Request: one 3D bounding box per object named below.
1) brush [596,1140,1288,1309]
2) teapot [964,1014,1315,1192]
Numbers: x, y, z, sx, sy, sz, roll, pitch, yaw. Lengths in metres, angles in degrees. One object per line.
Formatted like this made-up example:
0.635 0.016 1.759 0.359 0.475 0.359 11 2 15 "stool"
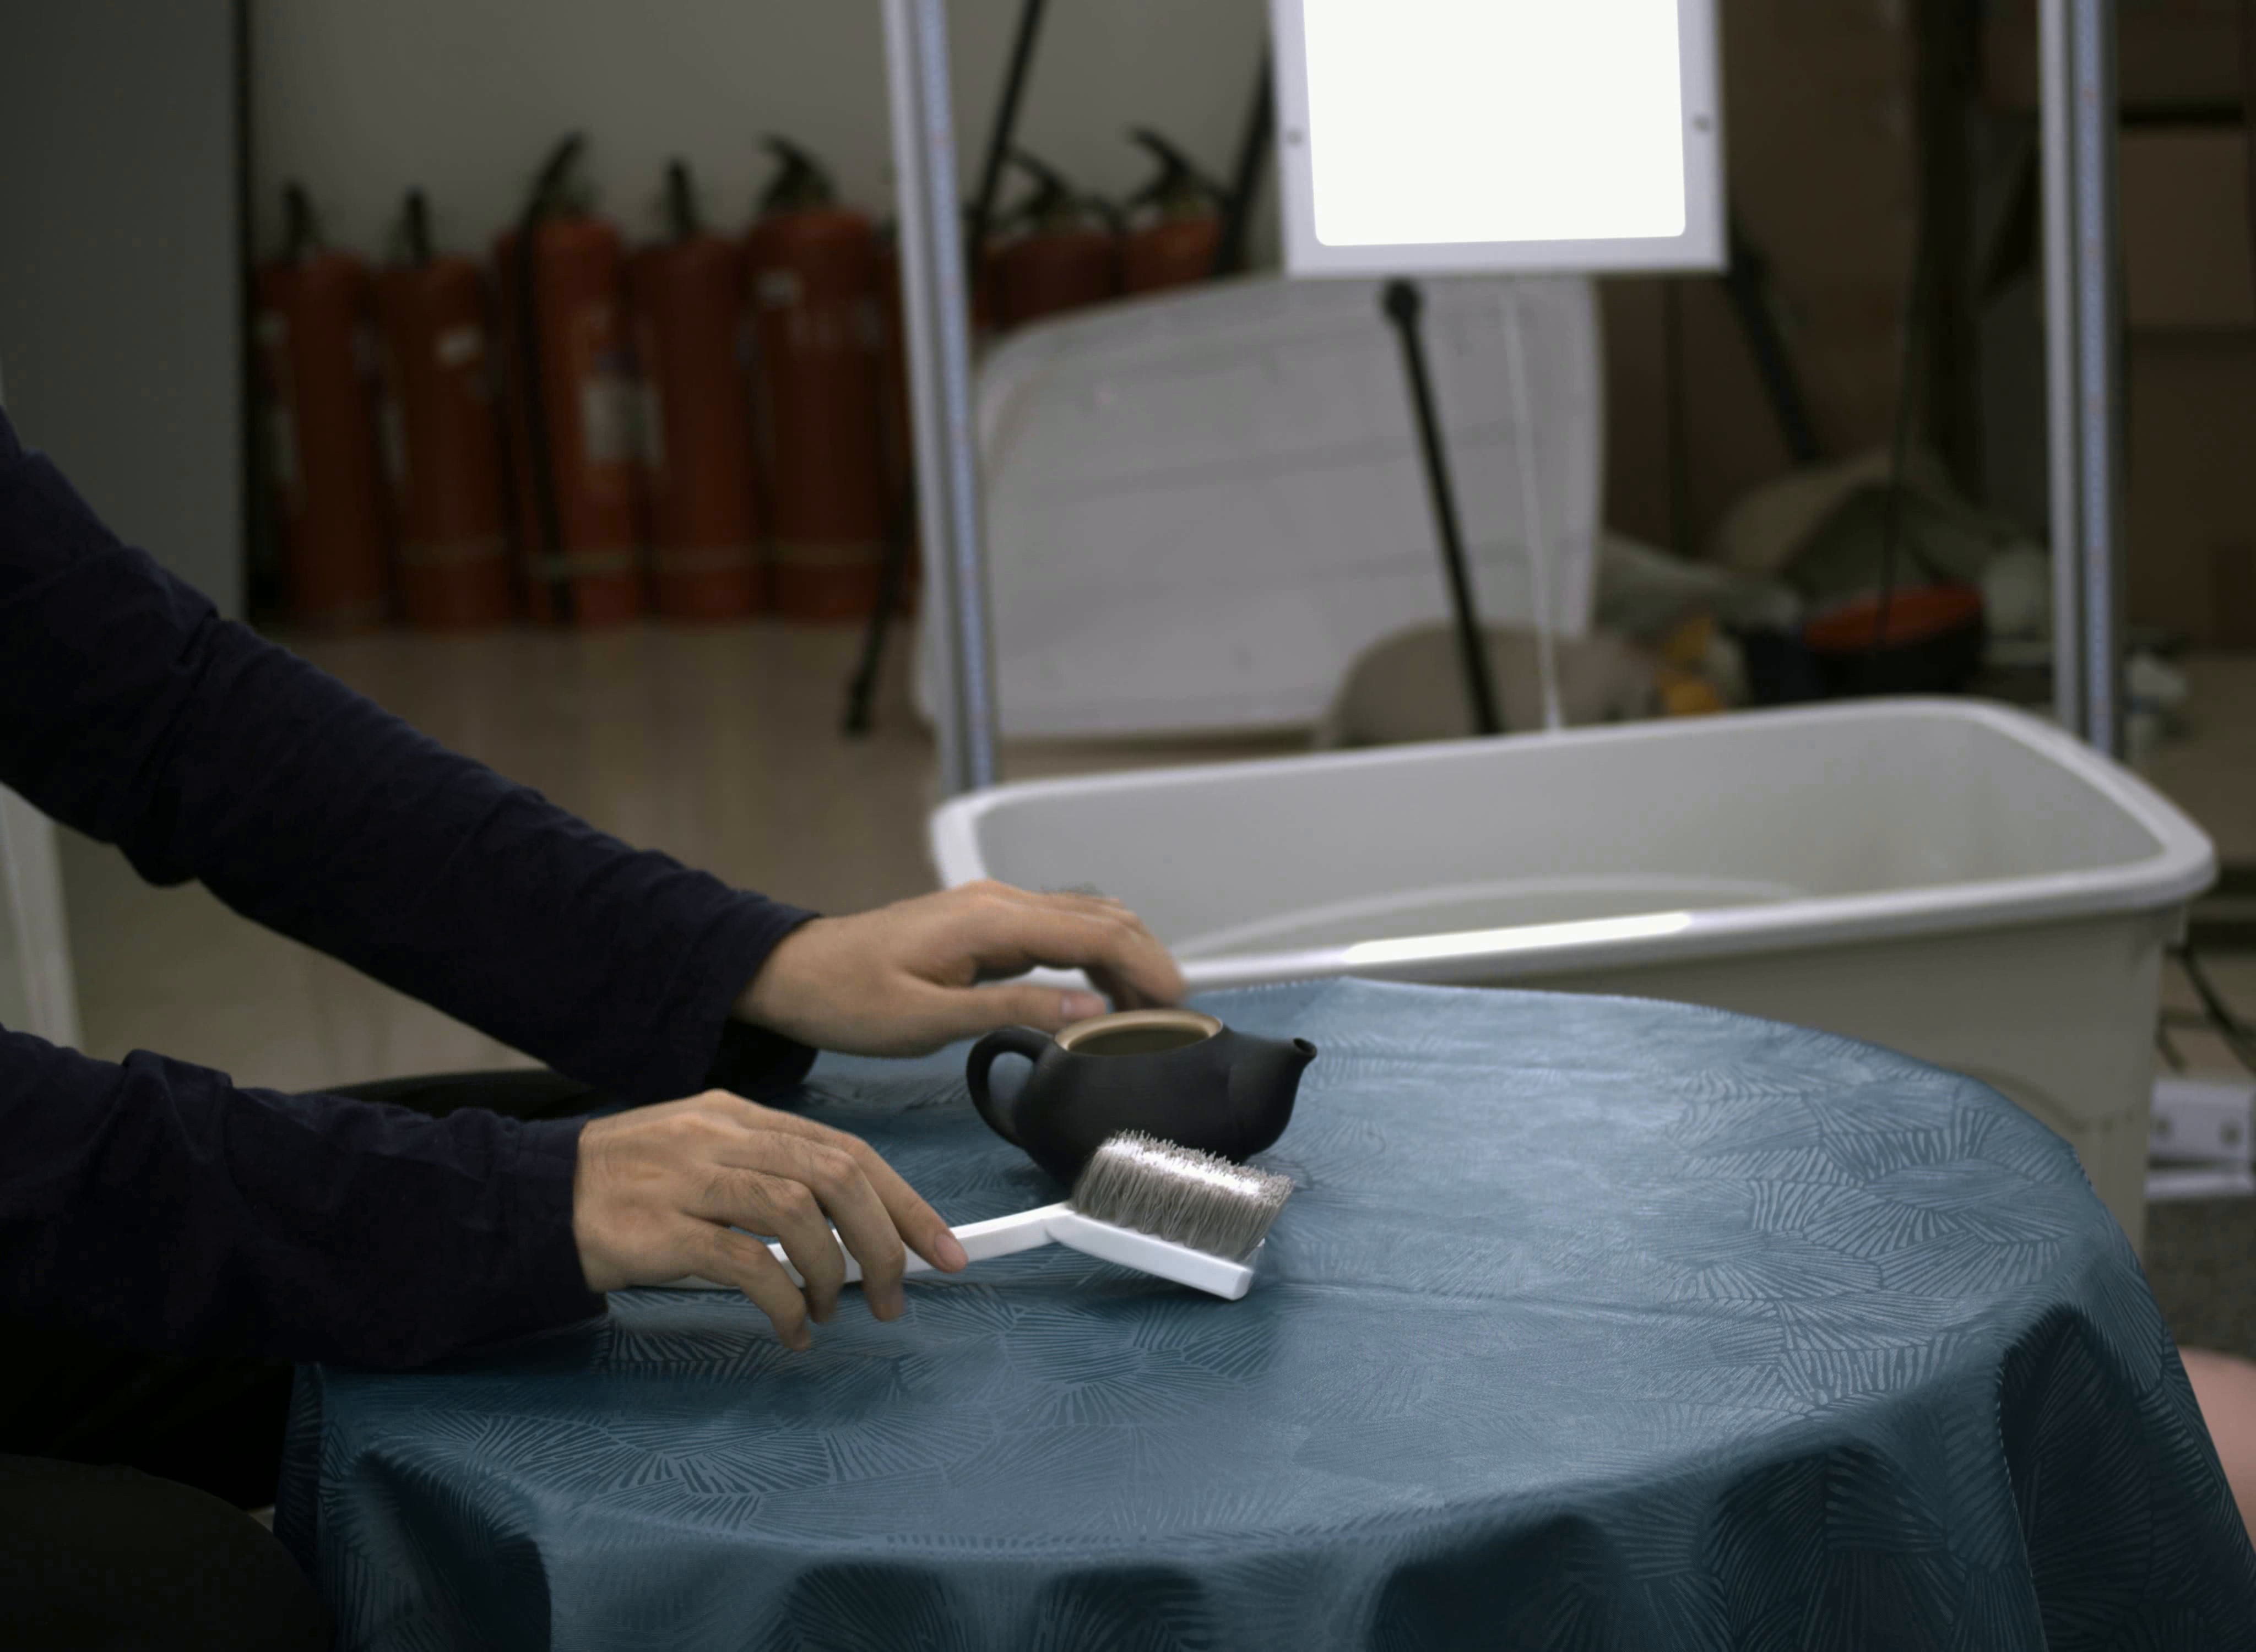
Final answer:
-0.065 0.127 1.818 0.247 0.050 0.034 1 20 21 "brush"
0.004 0.096 1.909 0.135 0.053 0.089 1 12 25 "teapot"
